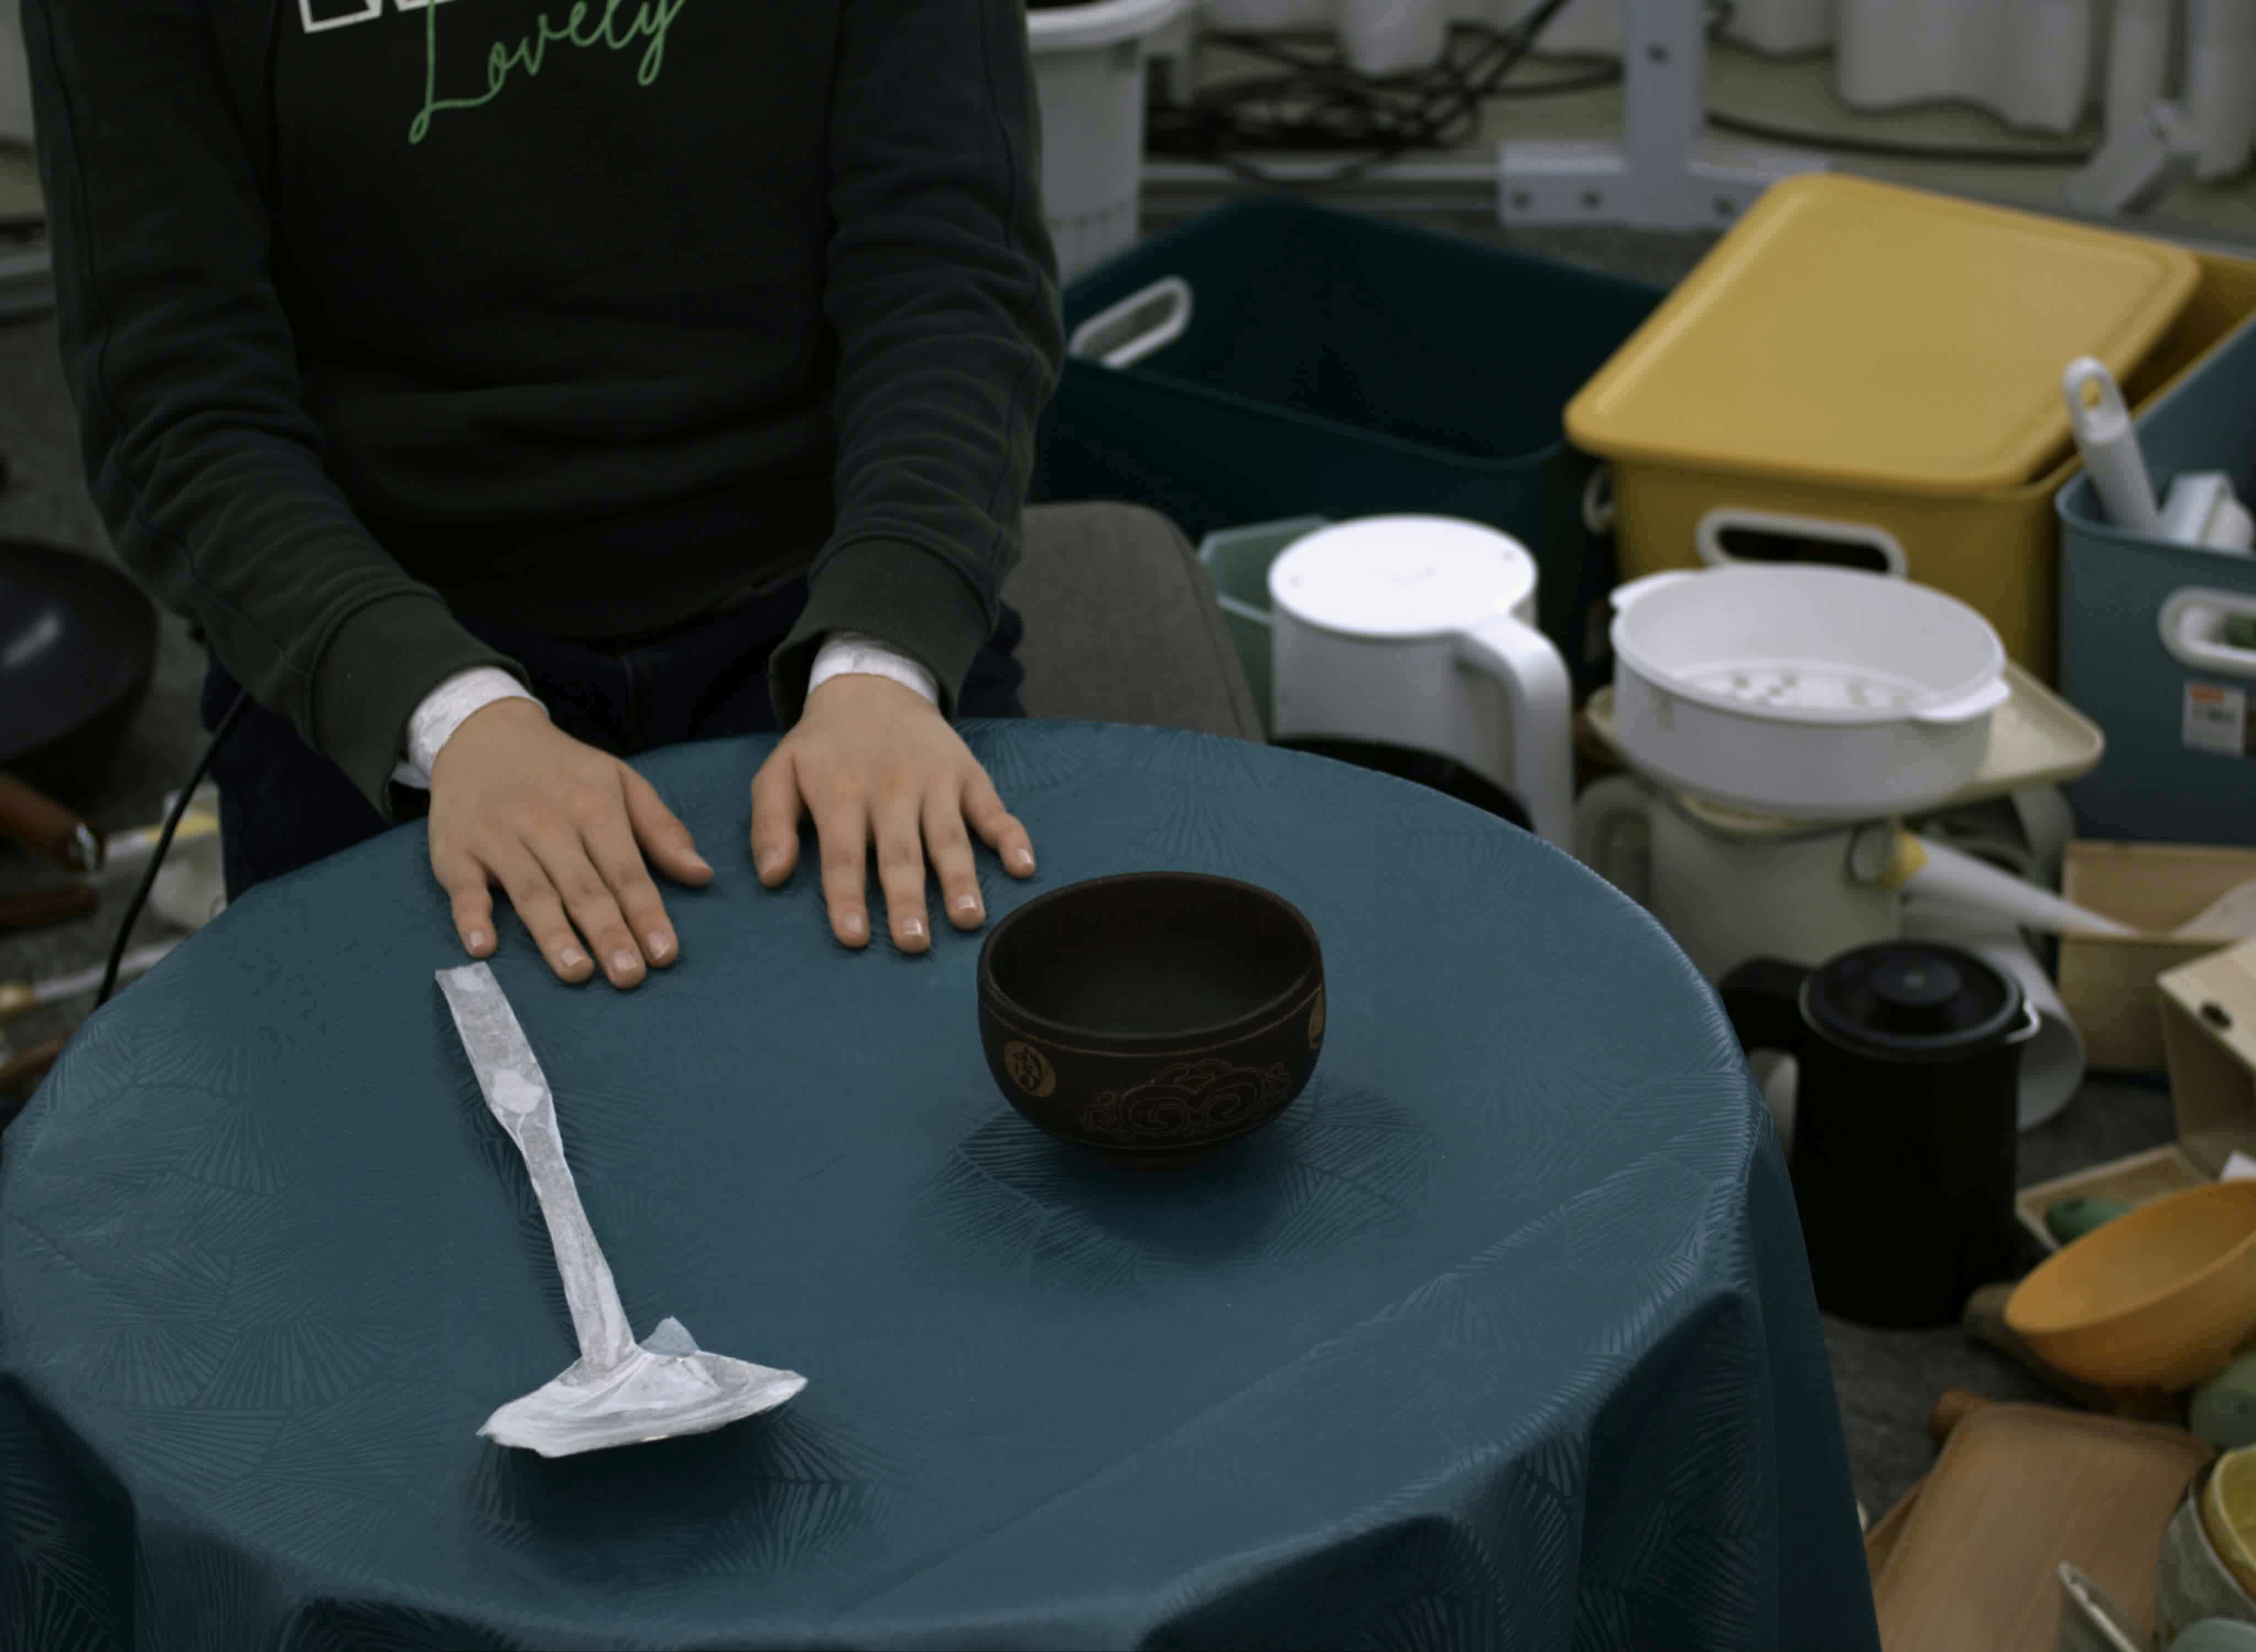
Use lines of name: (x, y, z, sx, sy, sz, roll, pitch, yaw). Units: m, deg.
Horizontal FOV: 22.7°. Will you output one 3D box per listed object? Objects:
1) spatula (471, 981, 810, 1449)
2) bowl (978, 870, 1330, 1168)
spatula: (-0.183, 0.119, 1.843, 0.099, 0.044, 0.369, -11, 28, -11)
bowl: (0.009, 0.071, 1.882, 0.117, 0.069, 0.120, -1, 26, 1)
